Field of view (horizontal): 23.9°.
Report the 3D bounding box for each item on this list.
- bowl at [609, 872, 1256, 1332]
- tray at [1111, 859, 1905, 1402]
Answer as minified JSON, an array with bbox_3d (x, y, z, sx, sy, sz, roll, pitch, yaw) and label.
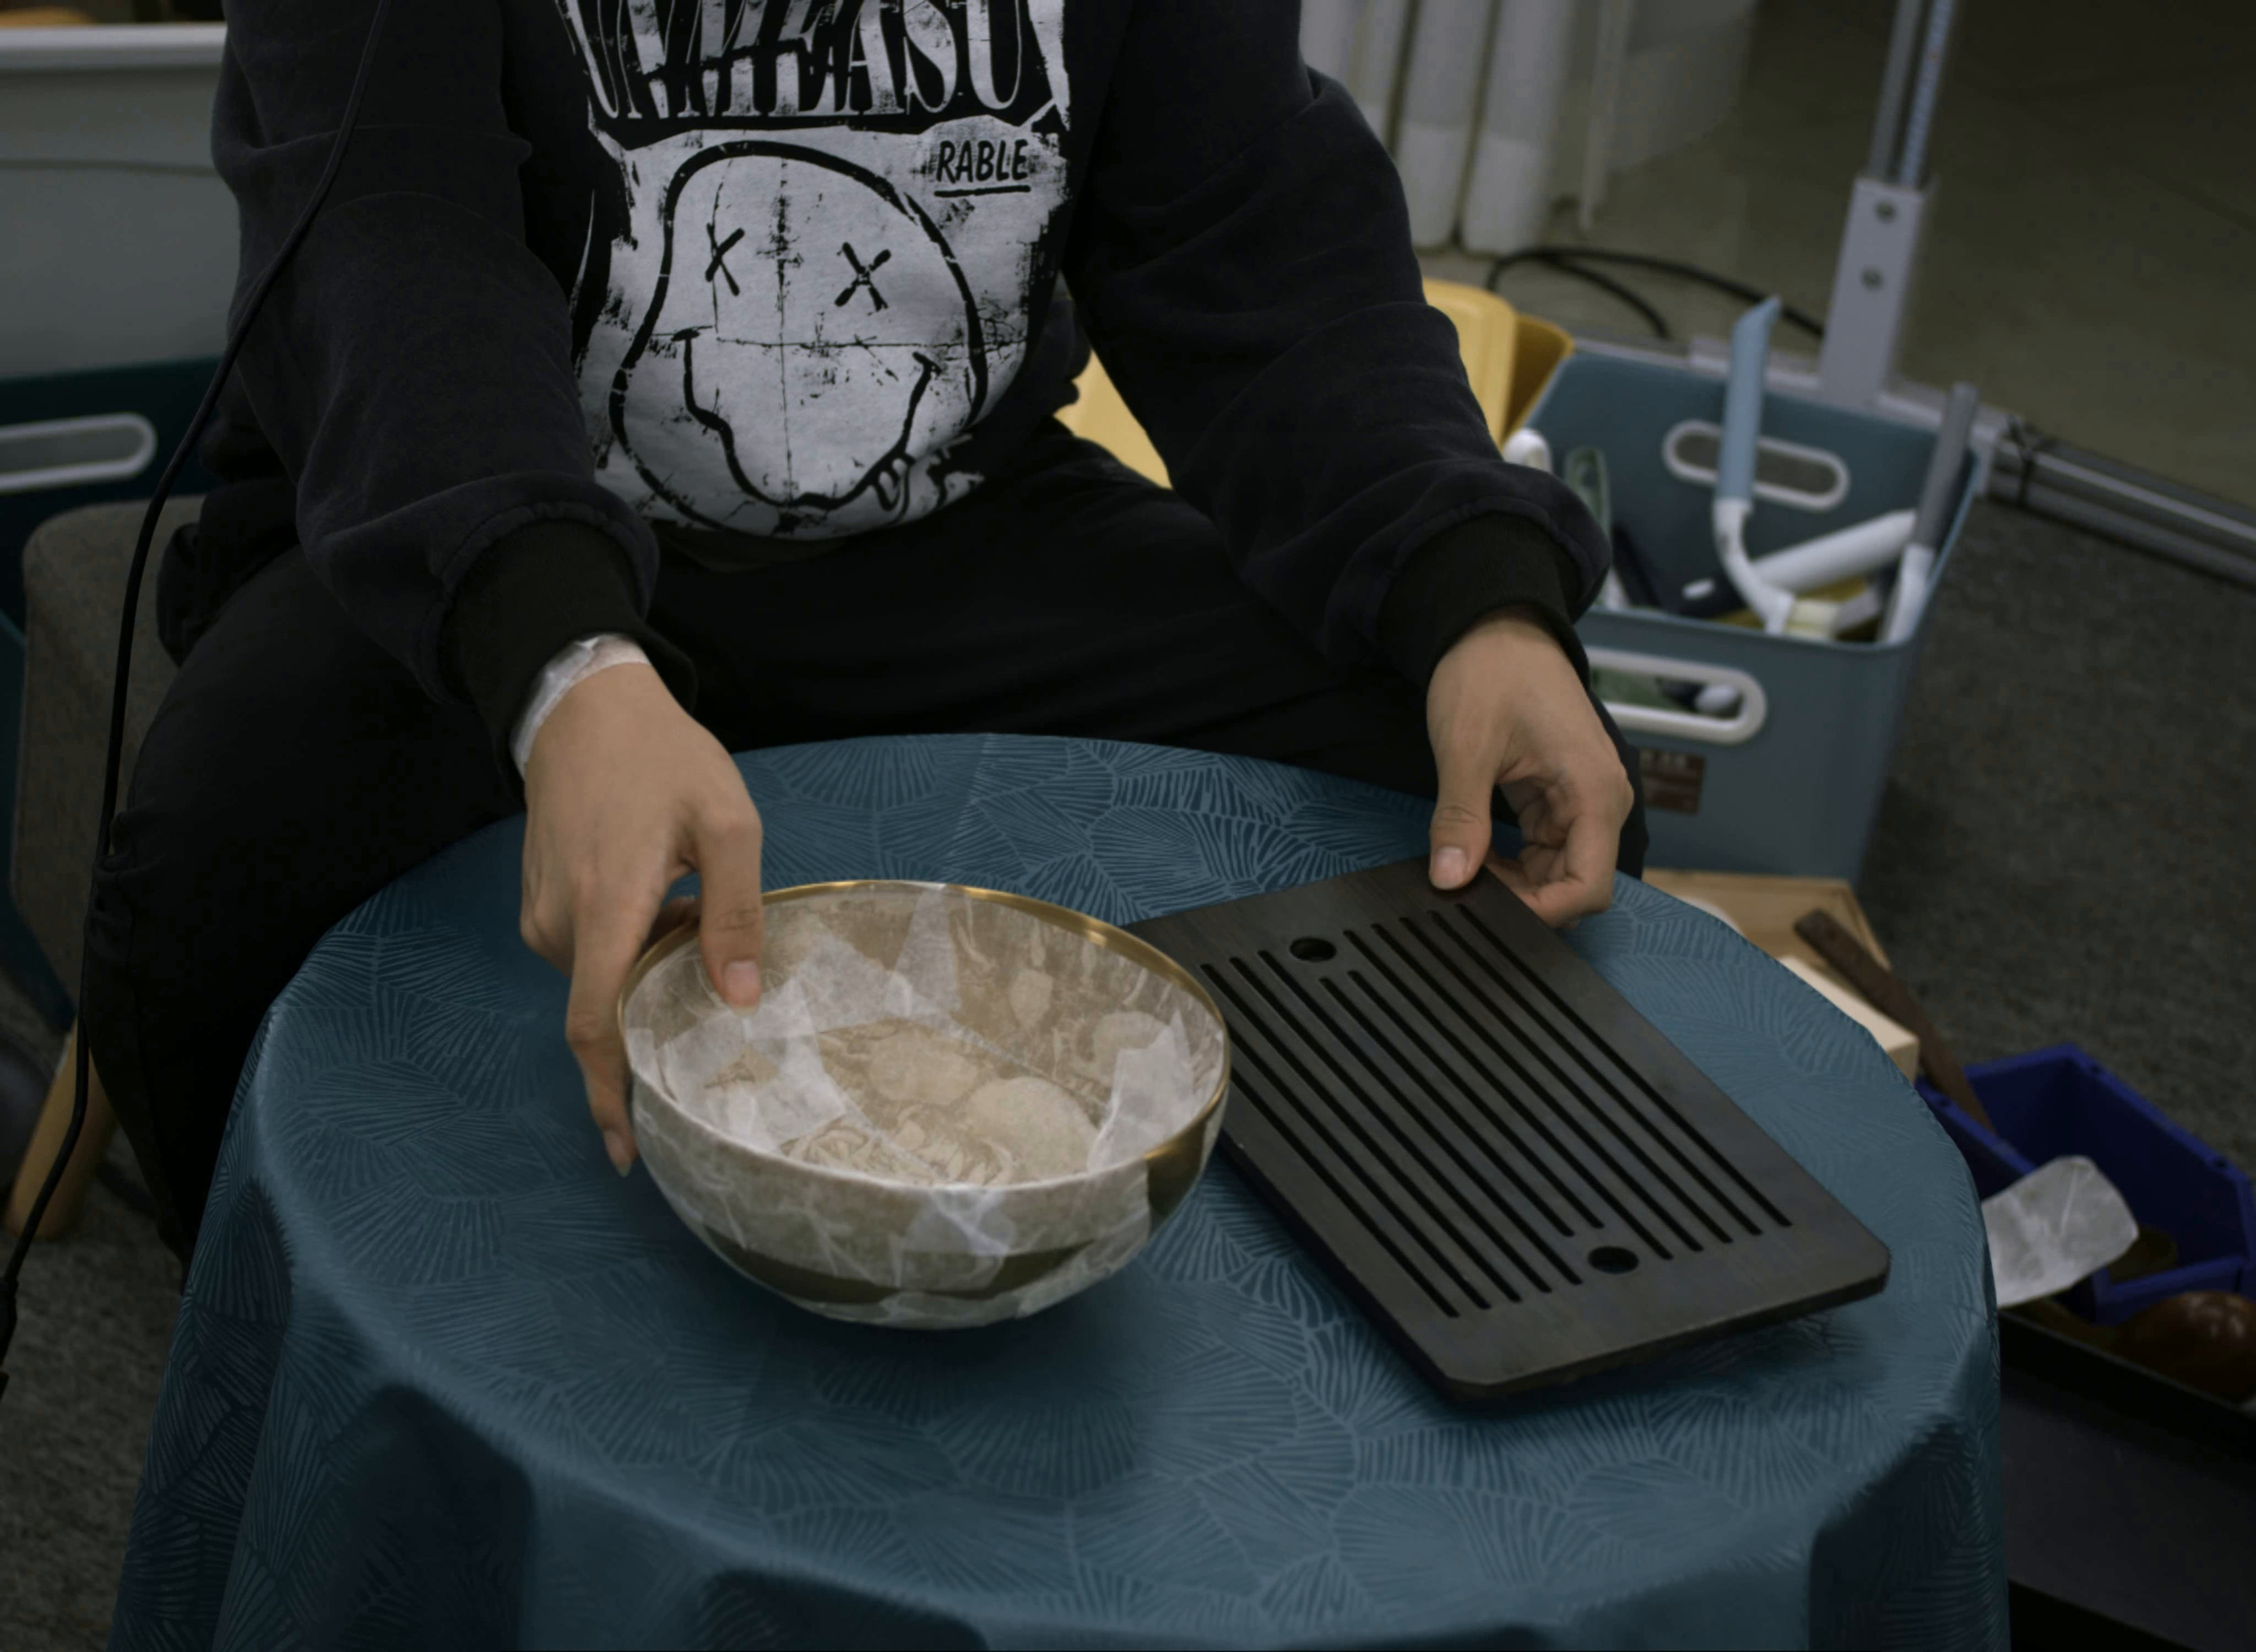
[{"bbox_3d":[-0.066,0.101,1.727,0.214,0.094,0.216,4,26,-2],"label":"bowl"},{"bbox_3d":[0.119,0.101,1.836,0.169,0.018,0.309,-12,32,-22],"label":"tray"}]
